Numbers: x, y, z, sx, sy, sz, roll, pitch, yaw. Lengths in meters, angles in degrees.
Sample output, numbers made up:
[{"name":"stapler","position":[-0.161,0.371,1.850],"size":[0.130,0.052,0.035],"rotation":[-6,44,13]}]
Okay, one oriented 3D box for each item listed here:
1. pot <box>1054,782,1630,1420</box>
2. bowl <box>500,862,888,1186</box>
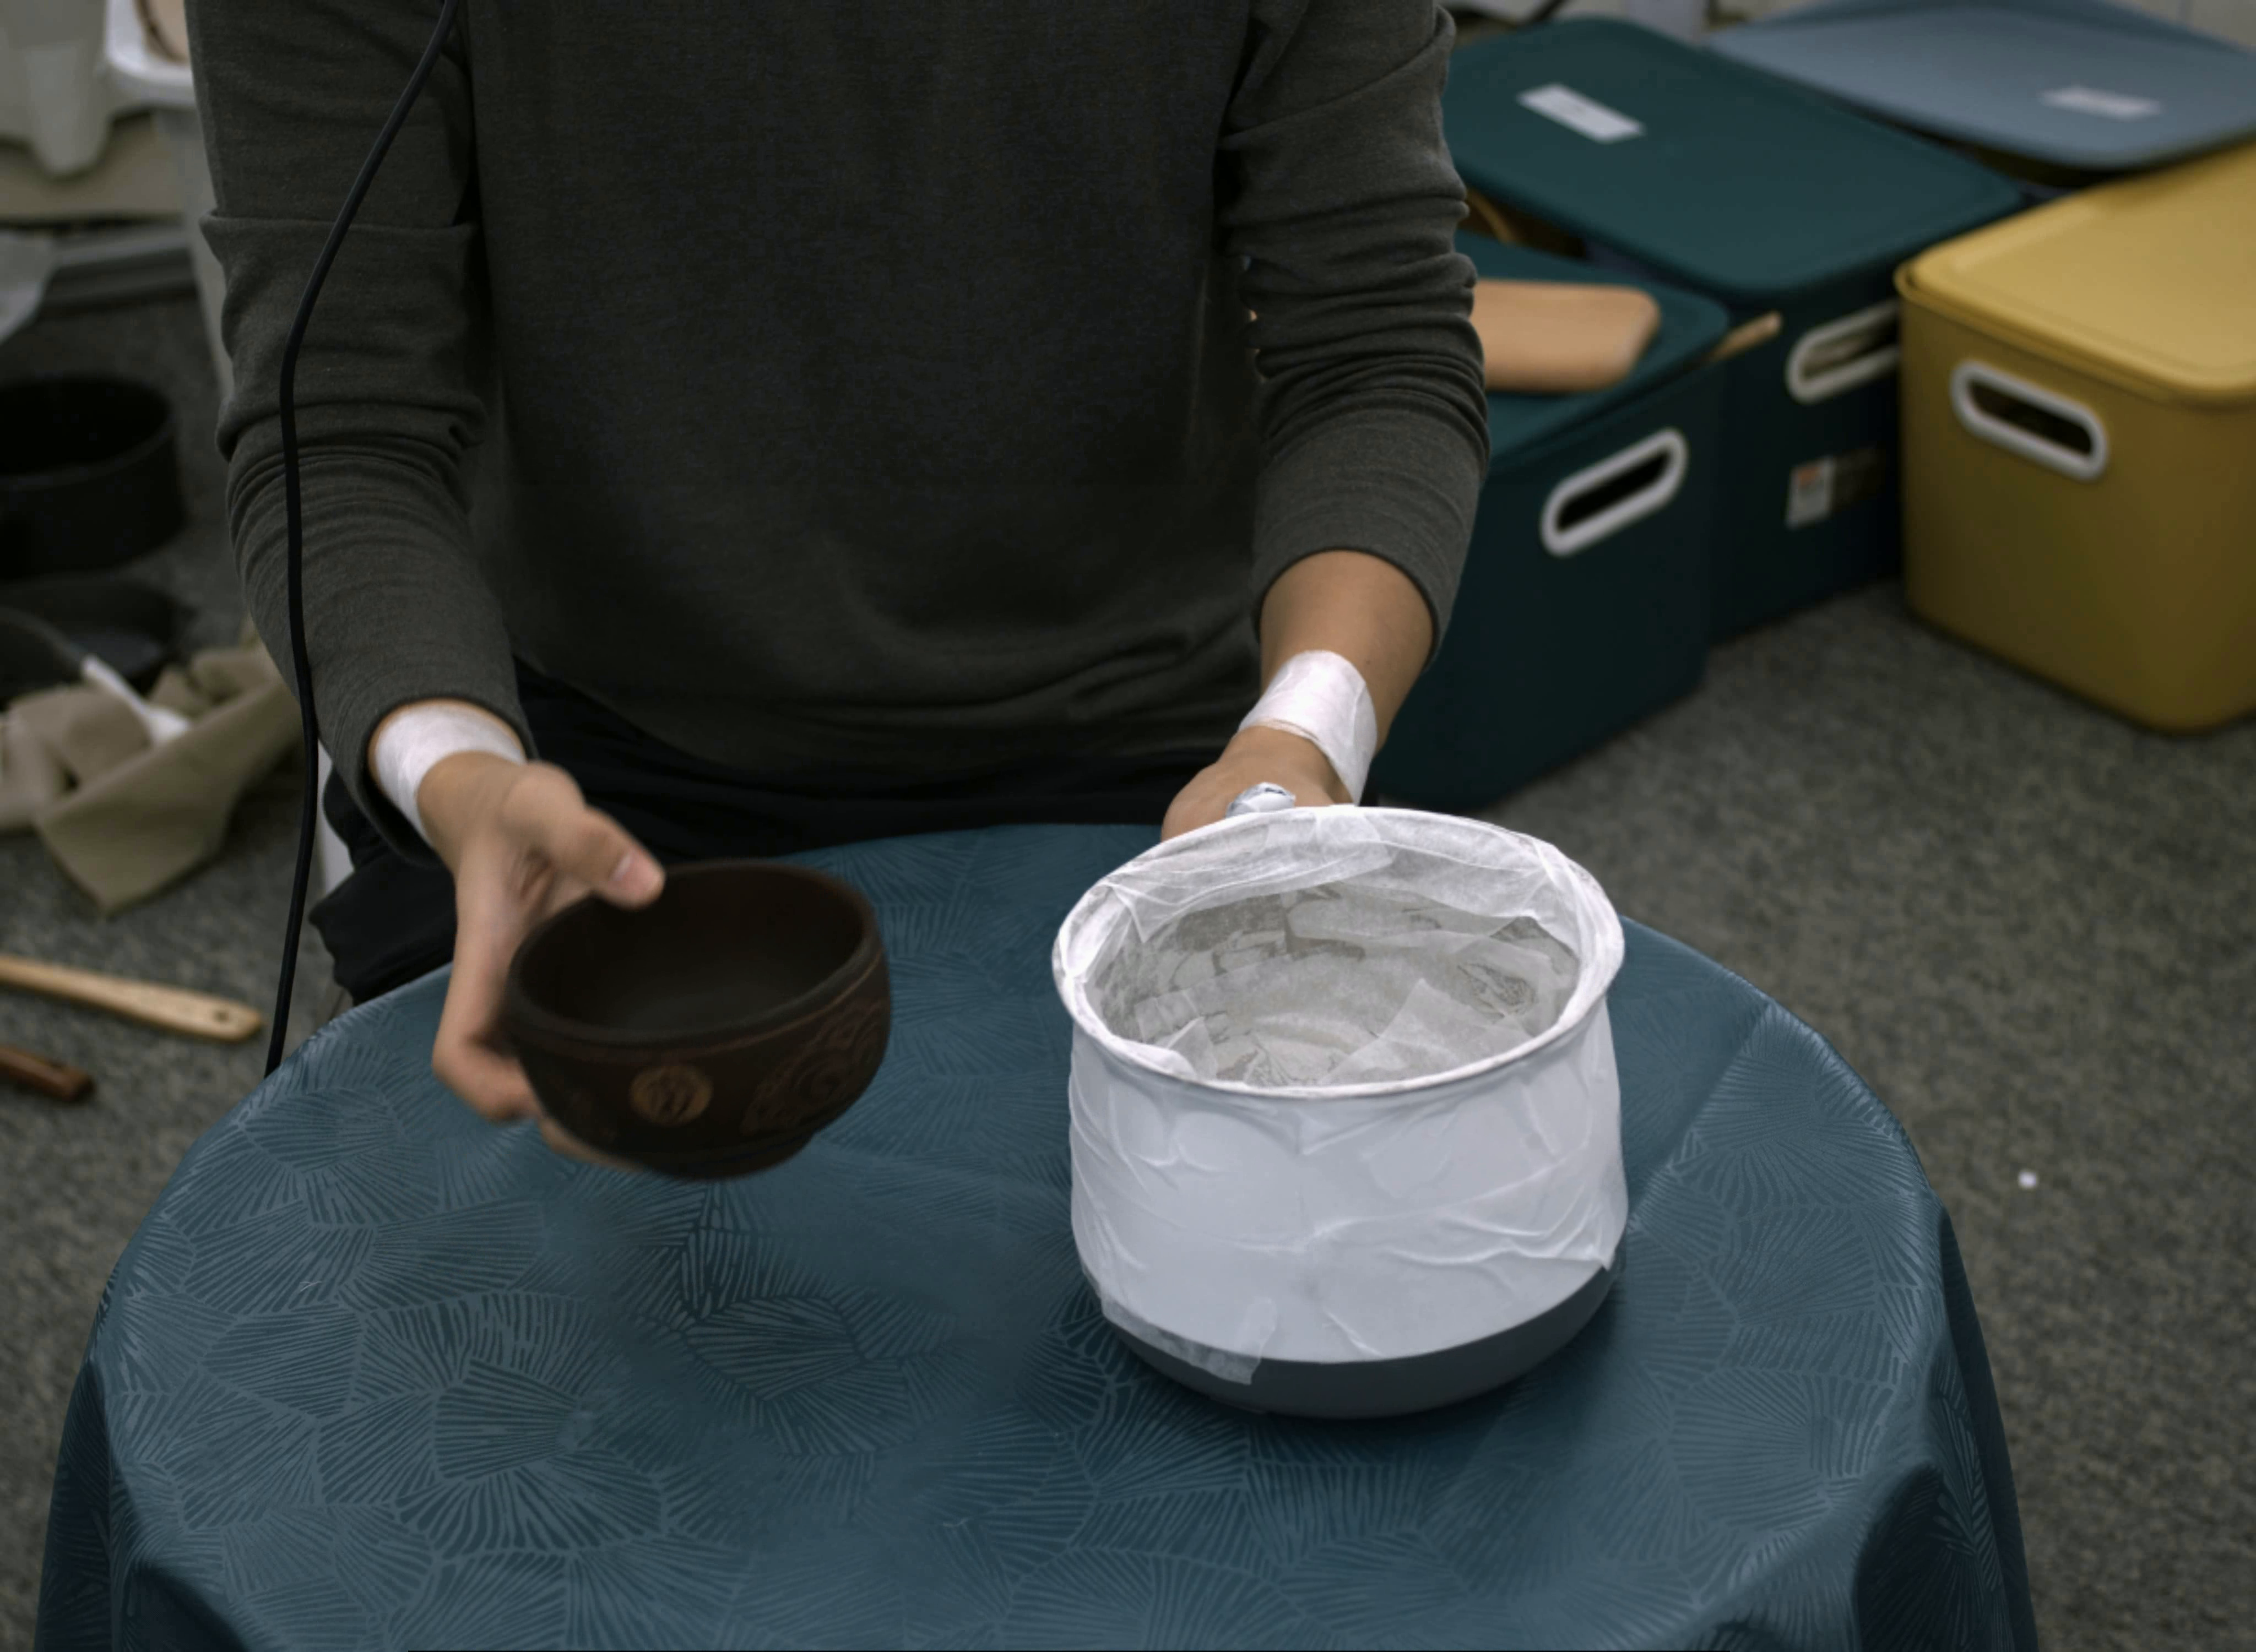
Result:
[{"name":"pot","position":[0.062,0.079,1.788],"size":[0.178,0.135,0.236],"rotation":[-8,27,-10]},{"name":"bowl","position":[-0.130,0.068,1.734],"size":[0.117,0.069,0.119],"rotation":[-8,24,4]}]
